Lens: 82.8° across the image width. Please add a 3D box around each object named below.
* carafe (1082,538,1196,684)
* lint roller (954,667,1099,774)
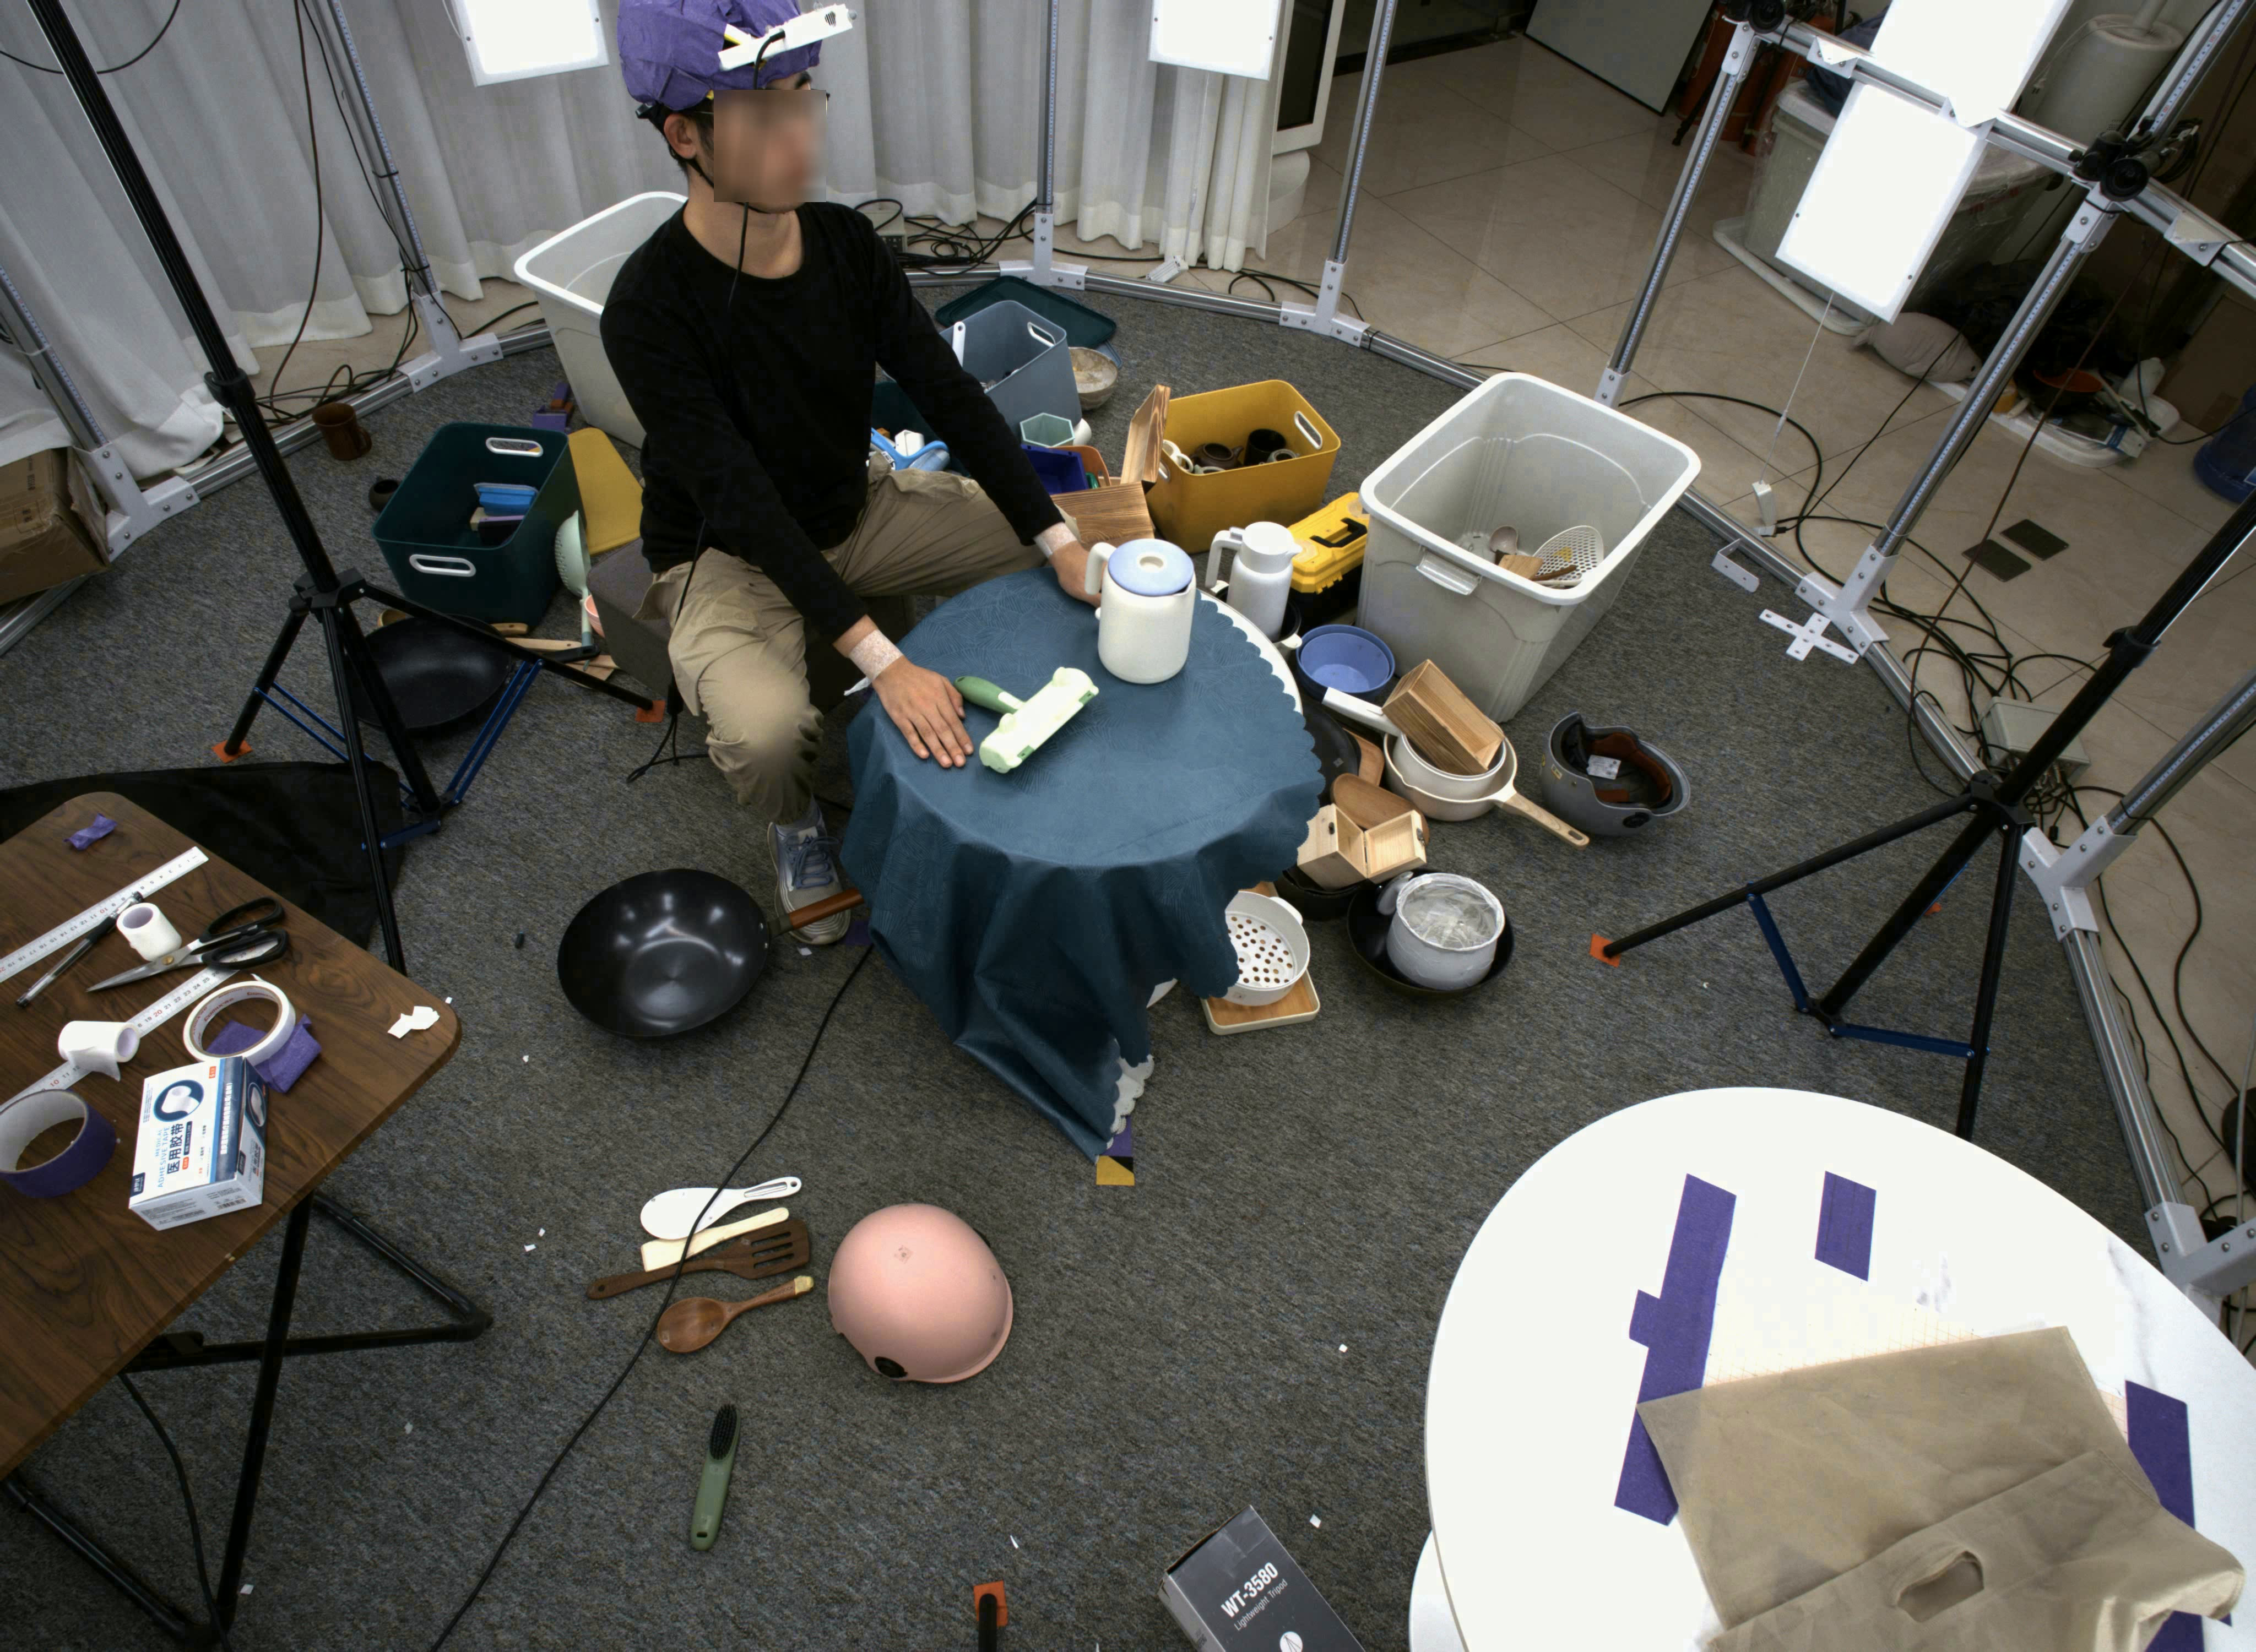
[{"bbox_3d":[0.009,-0.317,1.835,0.194,0.178,0.133,35,55,26],"label":"carafe"},{"bbox_3d":[-0.166,-0.178,1.764,0.185,0.080,0.201,32,53,18],"label":"lint roller"}]
